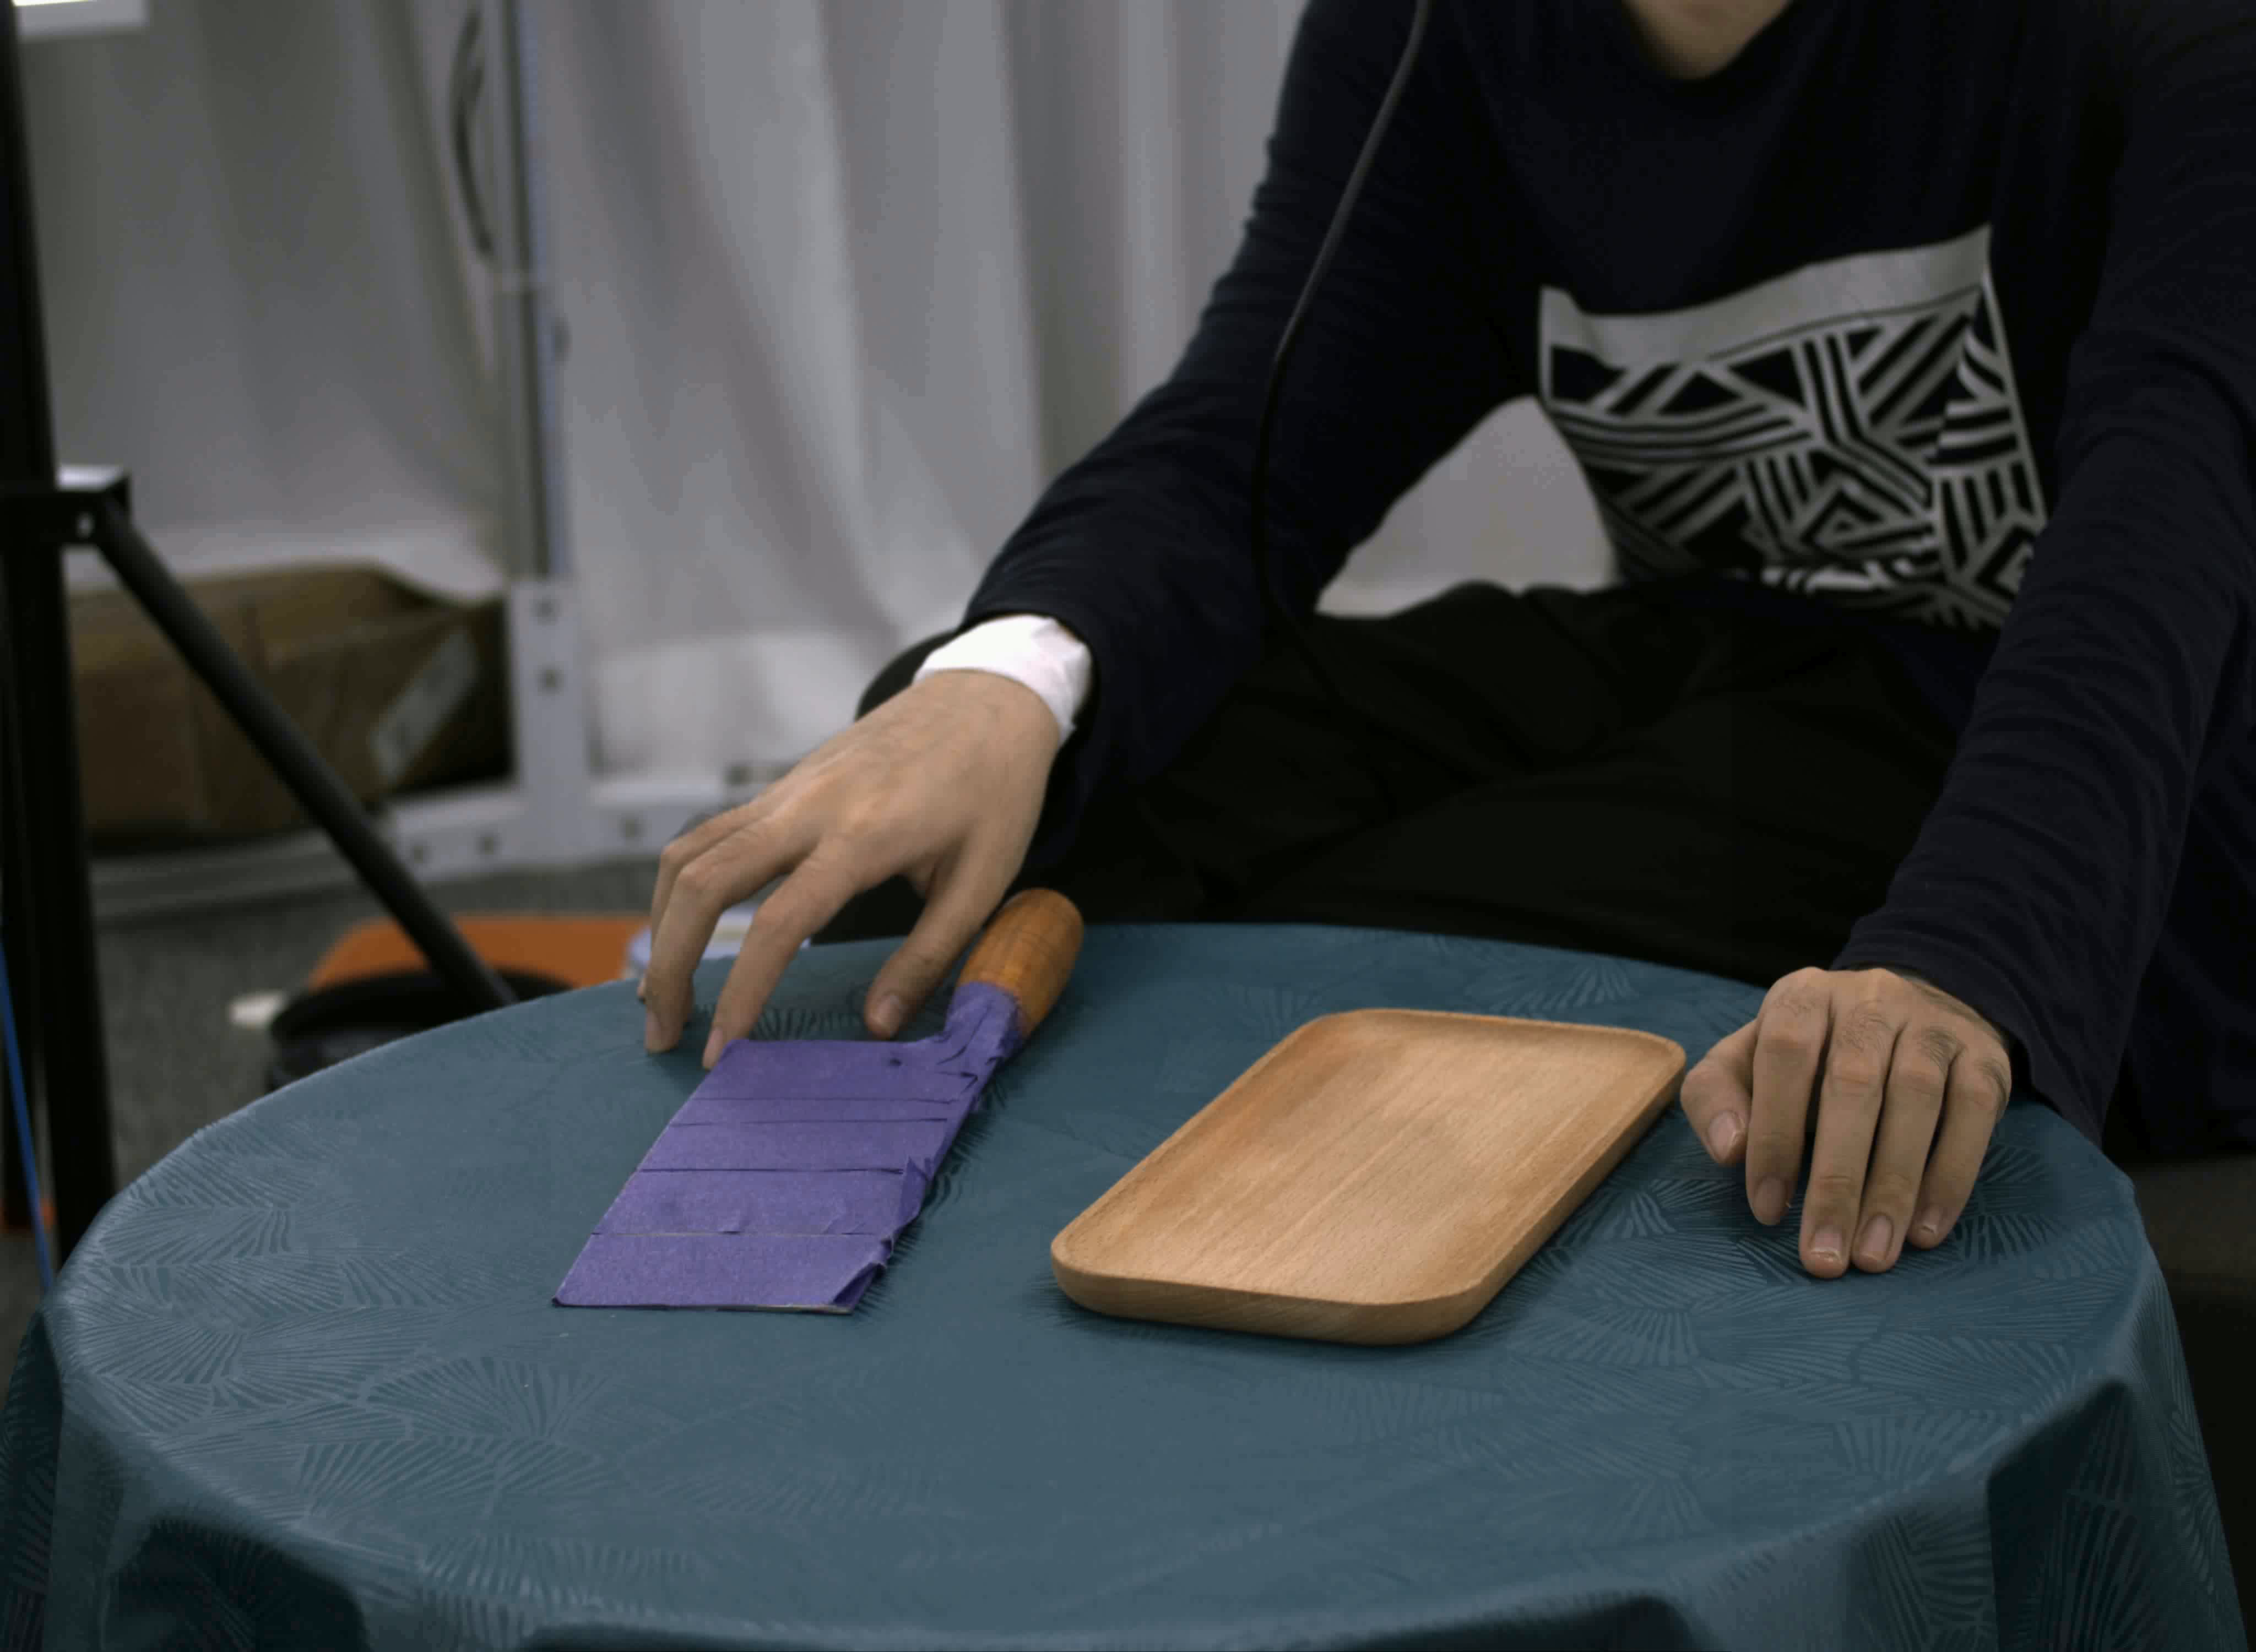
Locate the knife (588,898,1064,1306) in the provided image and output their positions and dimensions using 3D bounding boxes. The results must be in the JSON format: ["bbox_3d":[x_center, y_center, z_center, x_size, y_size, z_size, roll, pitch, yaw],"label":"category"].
[{"bbox_3d":[-0.089,0.081,1.623,0.104,0.032,0.314,1,16,10],"label":"knife"}]

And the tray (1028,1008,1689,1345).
[{"bbox_3d":[0.072,0.100,1.550,0.132,0.023,0.247,3,17,26],"label":"tray"}]
